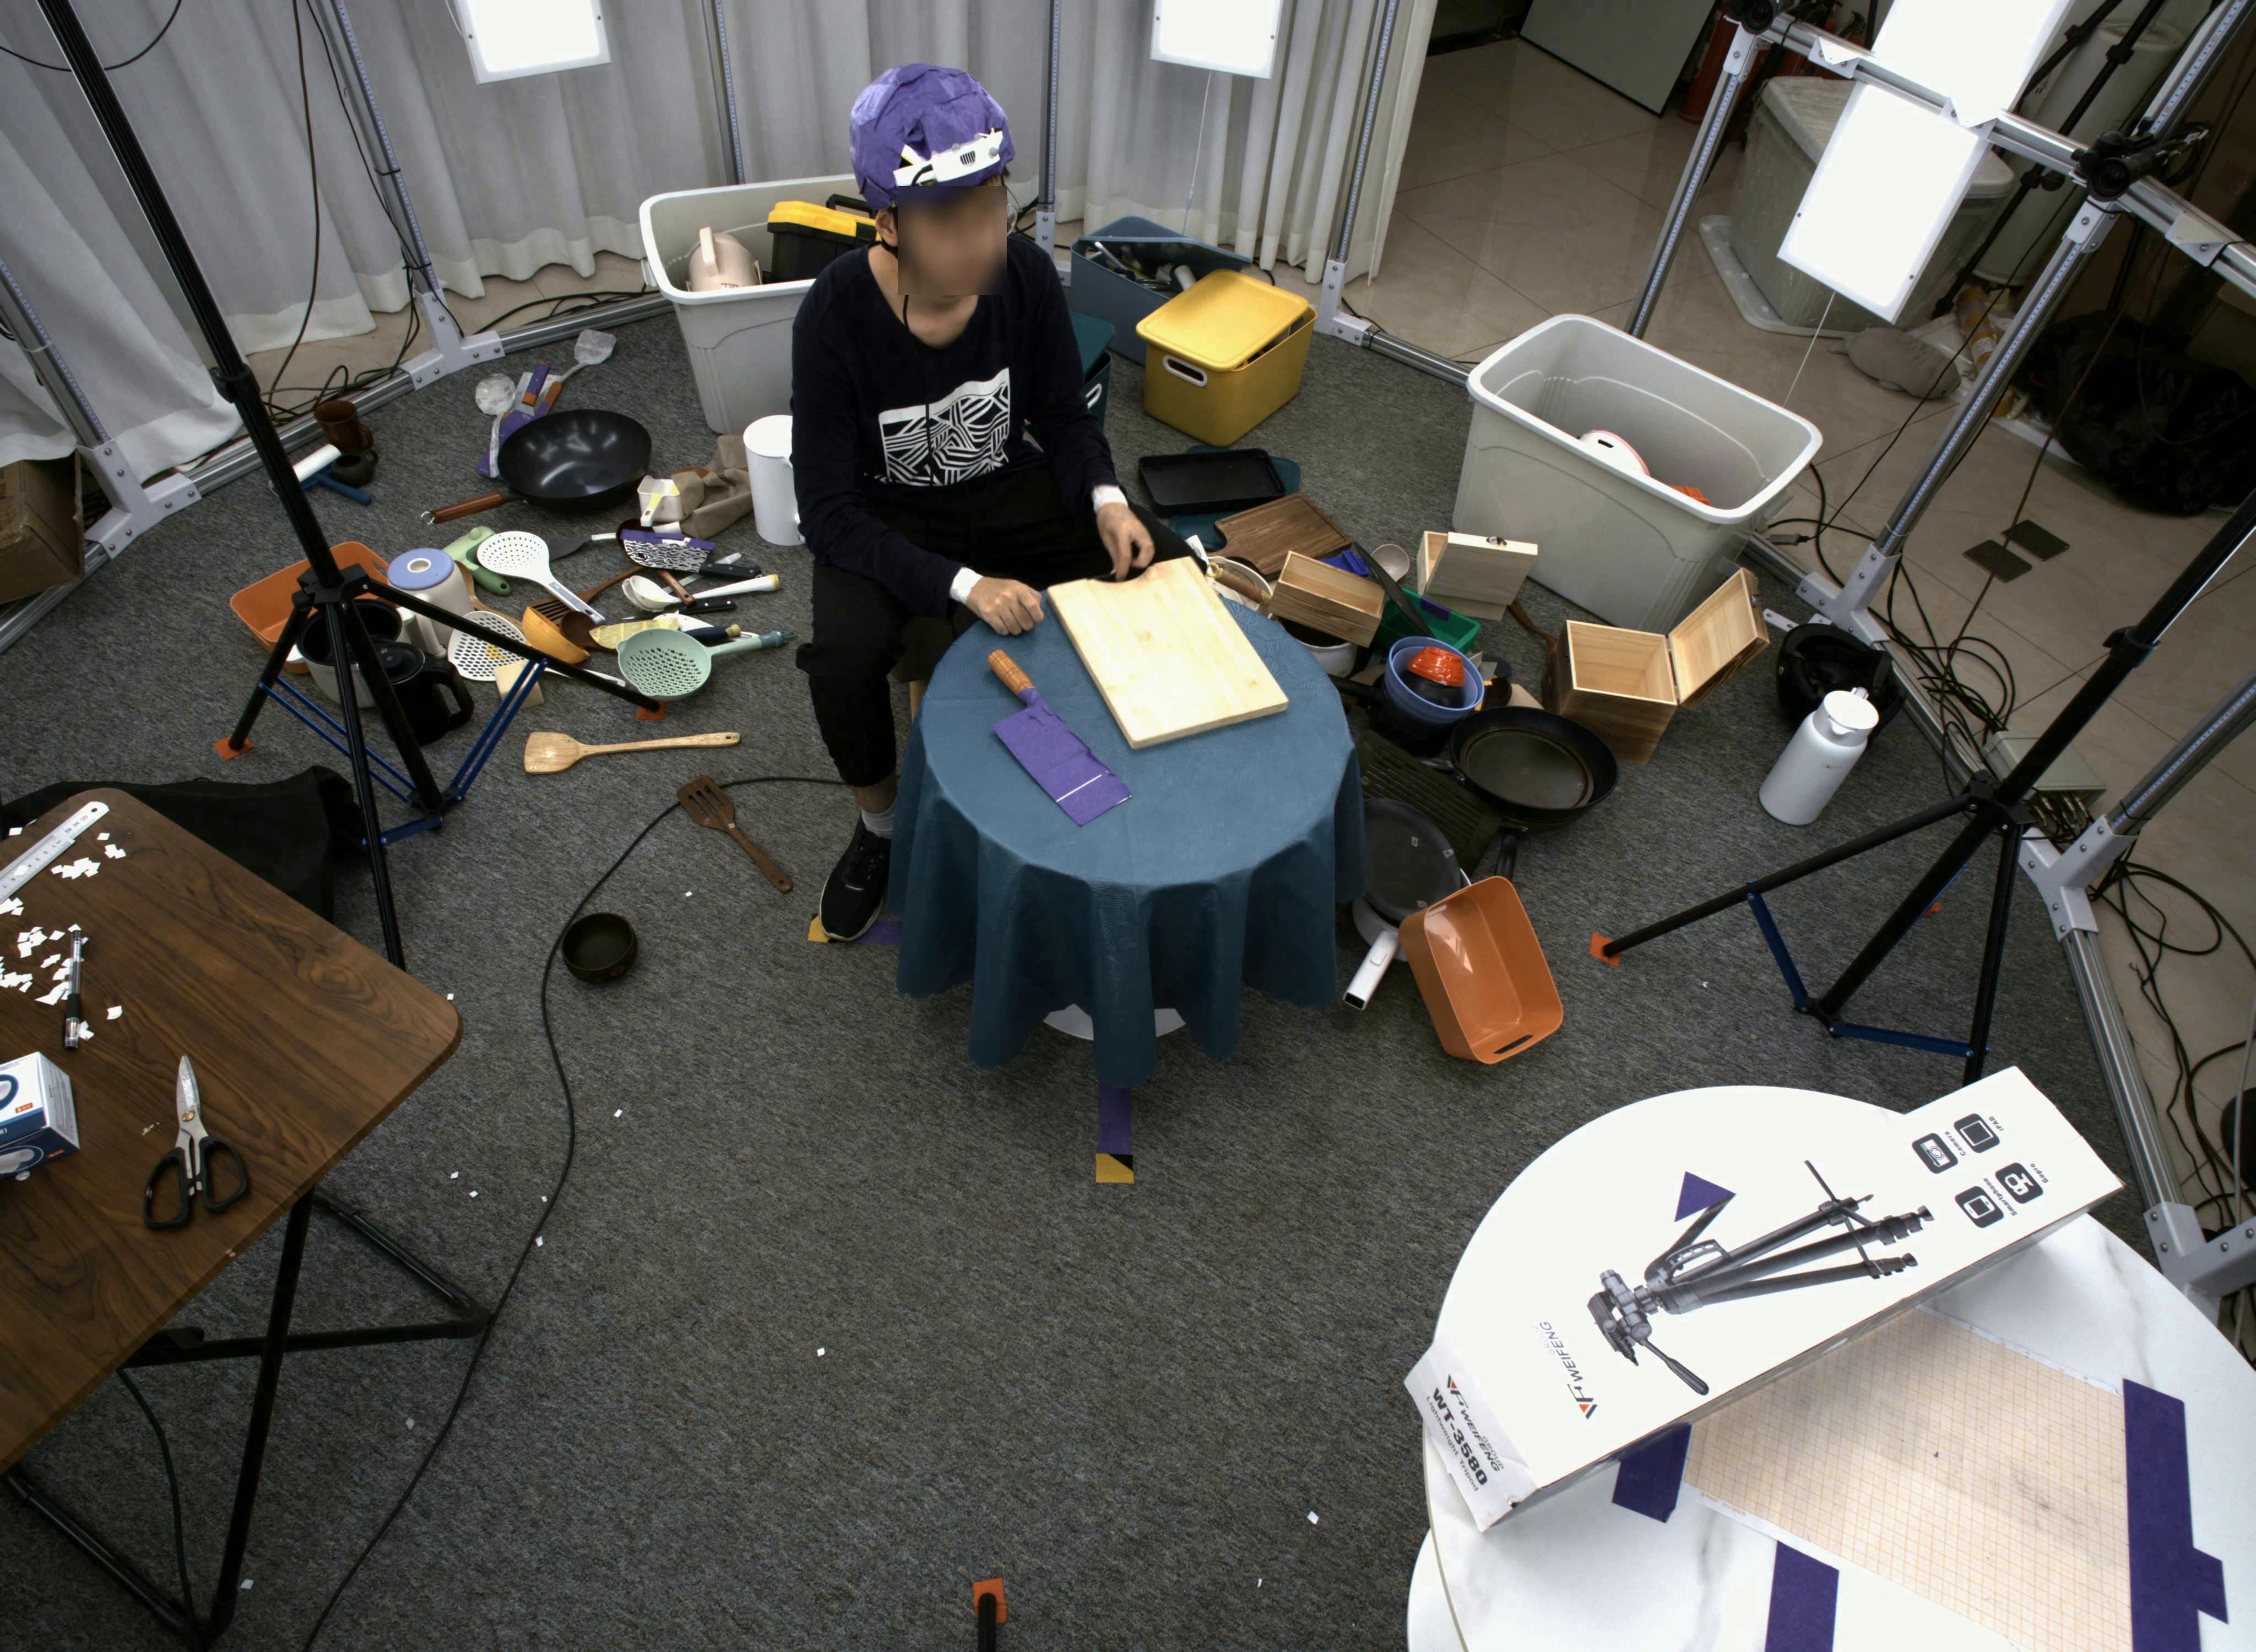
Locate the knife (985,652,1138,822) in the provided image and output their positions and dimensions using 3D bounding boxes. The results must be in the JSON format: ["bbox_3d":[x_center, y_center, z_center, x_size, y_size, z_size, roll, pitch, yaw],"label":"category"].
[{"bbox_3d":[-0.120,-0.125,1.750,0.104,0.031,0.321,-29,57,-26],"label":"knife"}]

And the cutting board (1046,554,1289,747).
[{"bbox_3d":[0.051,-0.266,1.891,0.251,0.023,0.357,-16,52,-17],"label":"cutting board"}]
